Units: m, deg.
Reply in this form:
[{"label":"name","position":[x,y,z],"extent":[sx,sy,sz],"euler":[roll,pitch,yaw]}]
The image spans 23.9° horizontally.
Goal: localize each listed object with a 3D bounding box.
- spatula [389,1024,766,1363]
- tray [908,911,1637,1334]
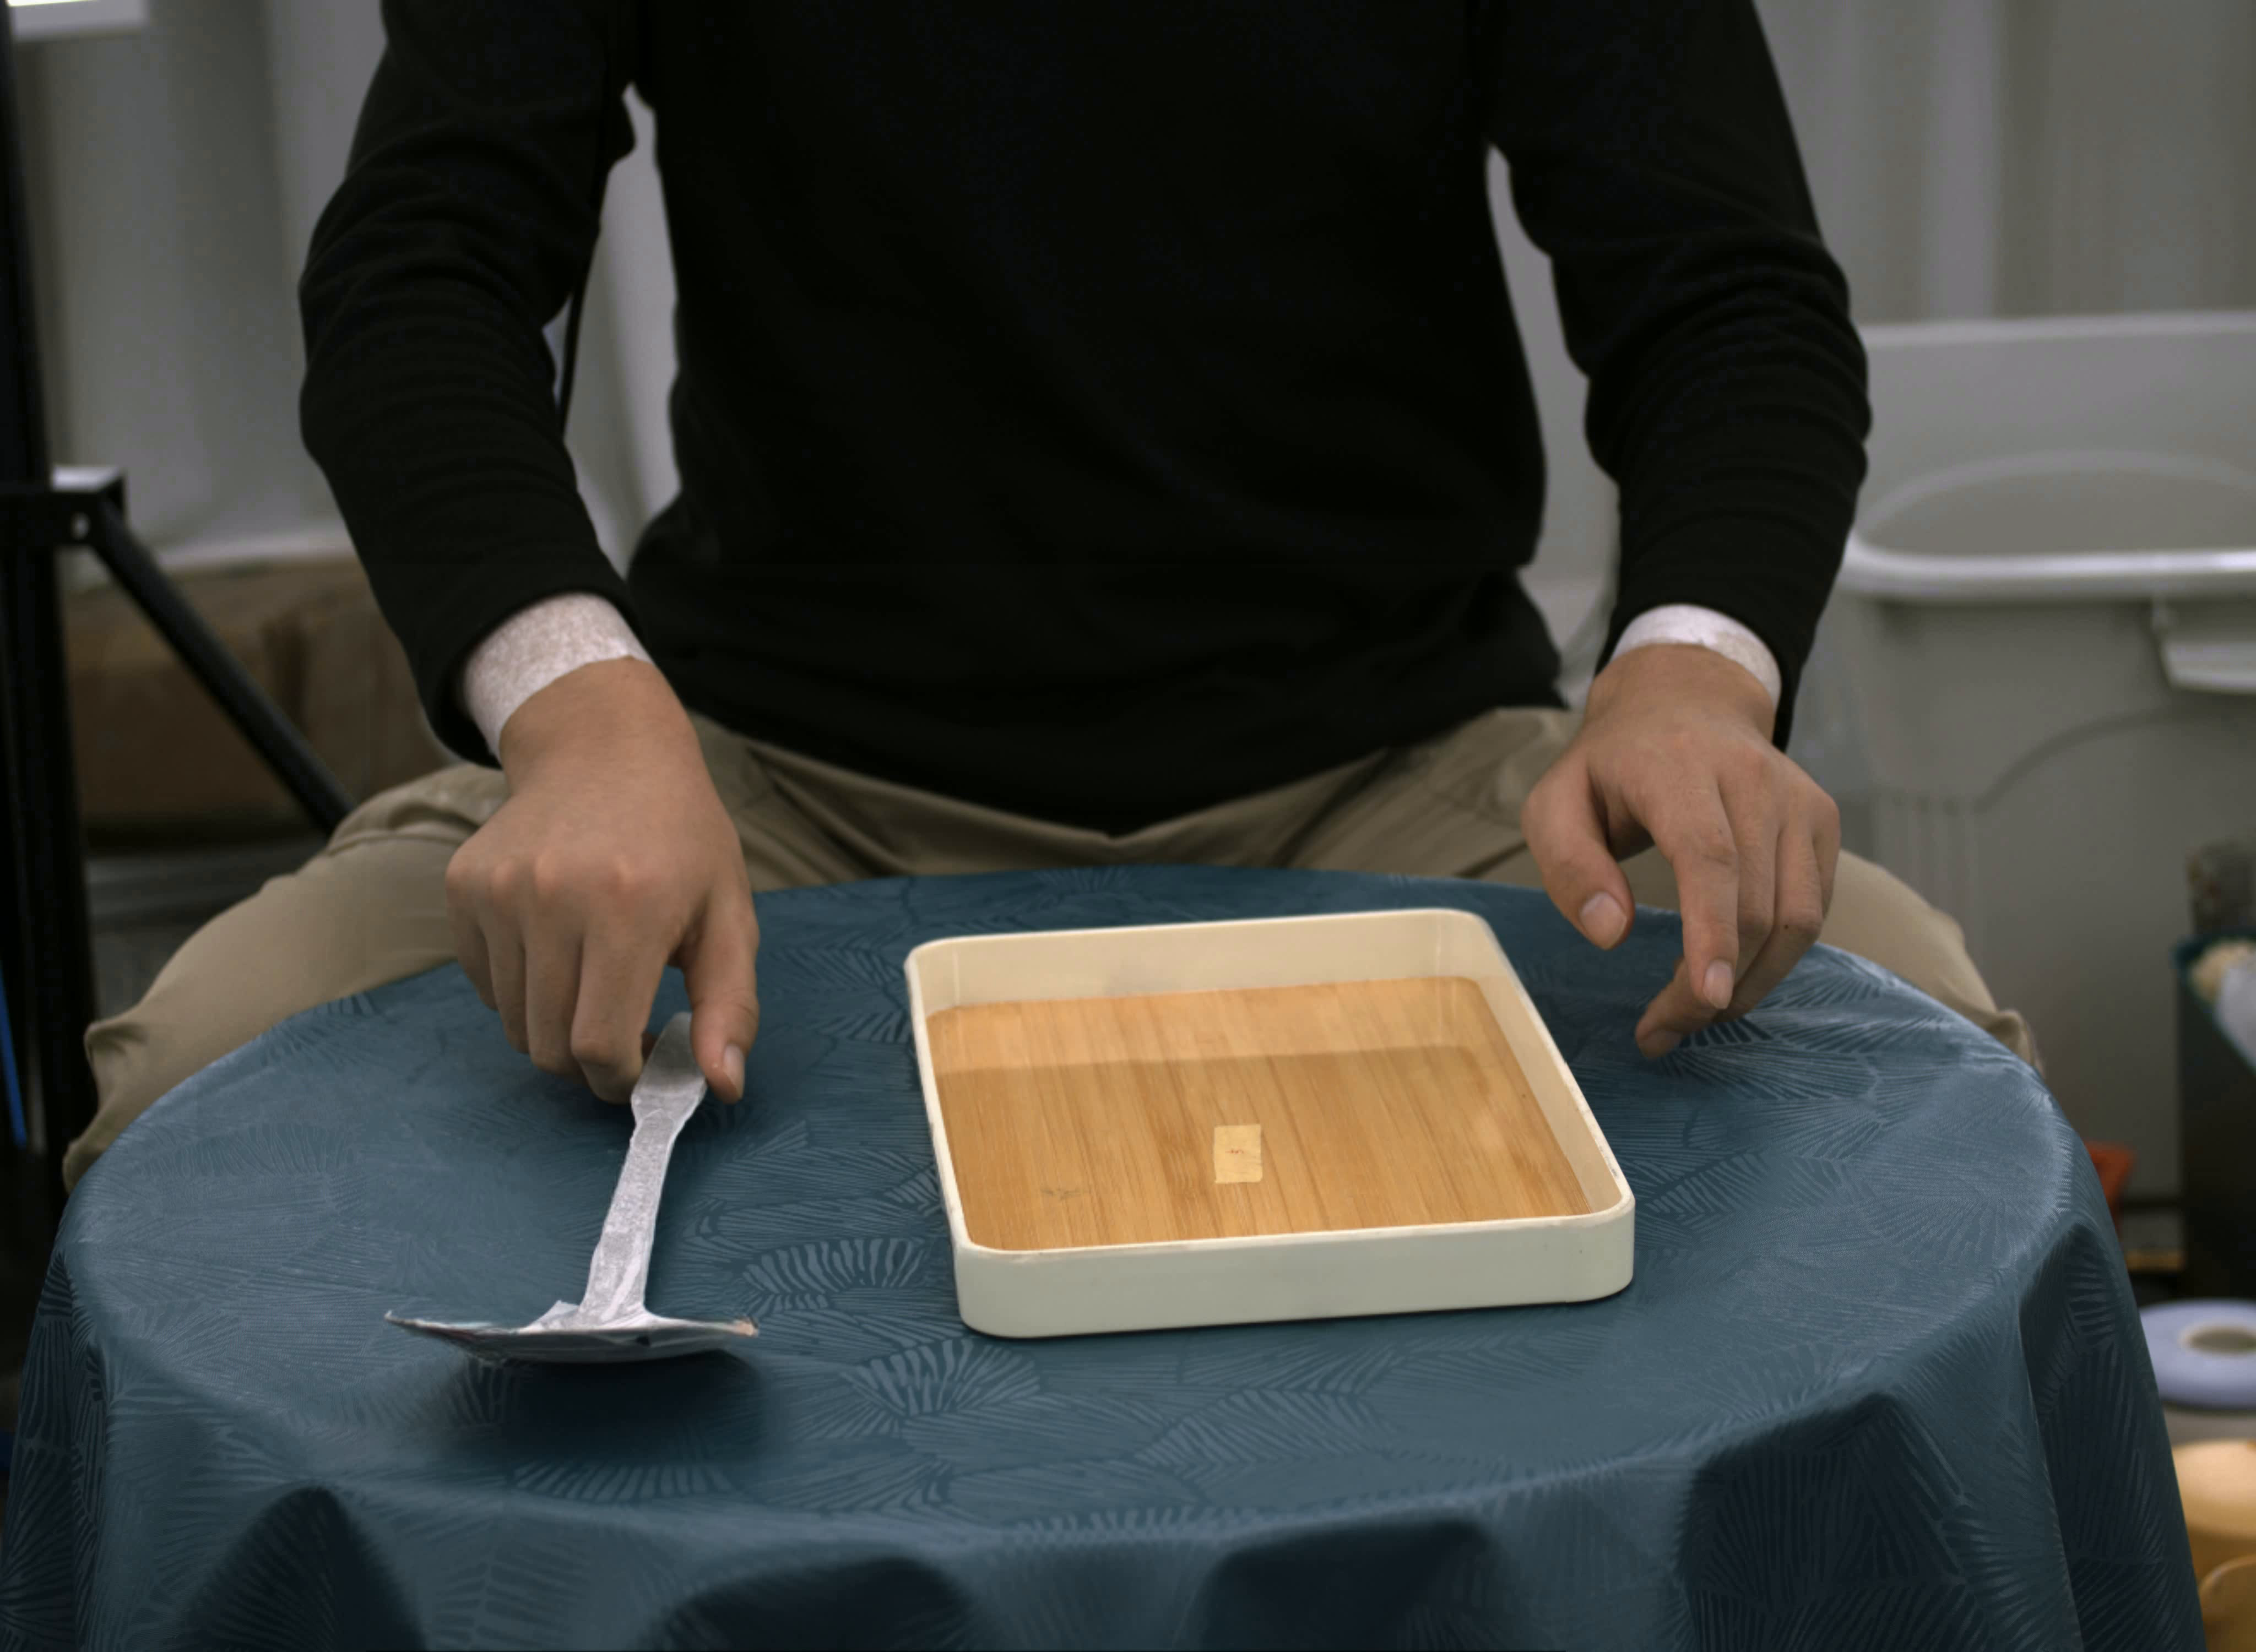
[{"label":"spatula","position":[-0.138,0.098,1.546],"extent":[0.098,0.045,0.365],"euler":[-2,16,3]},{"label":"tray","position":[0.036,0.084,1.586],"extent":[0.190,0.027,0.302],"euler":[-4,16,-3]}]
